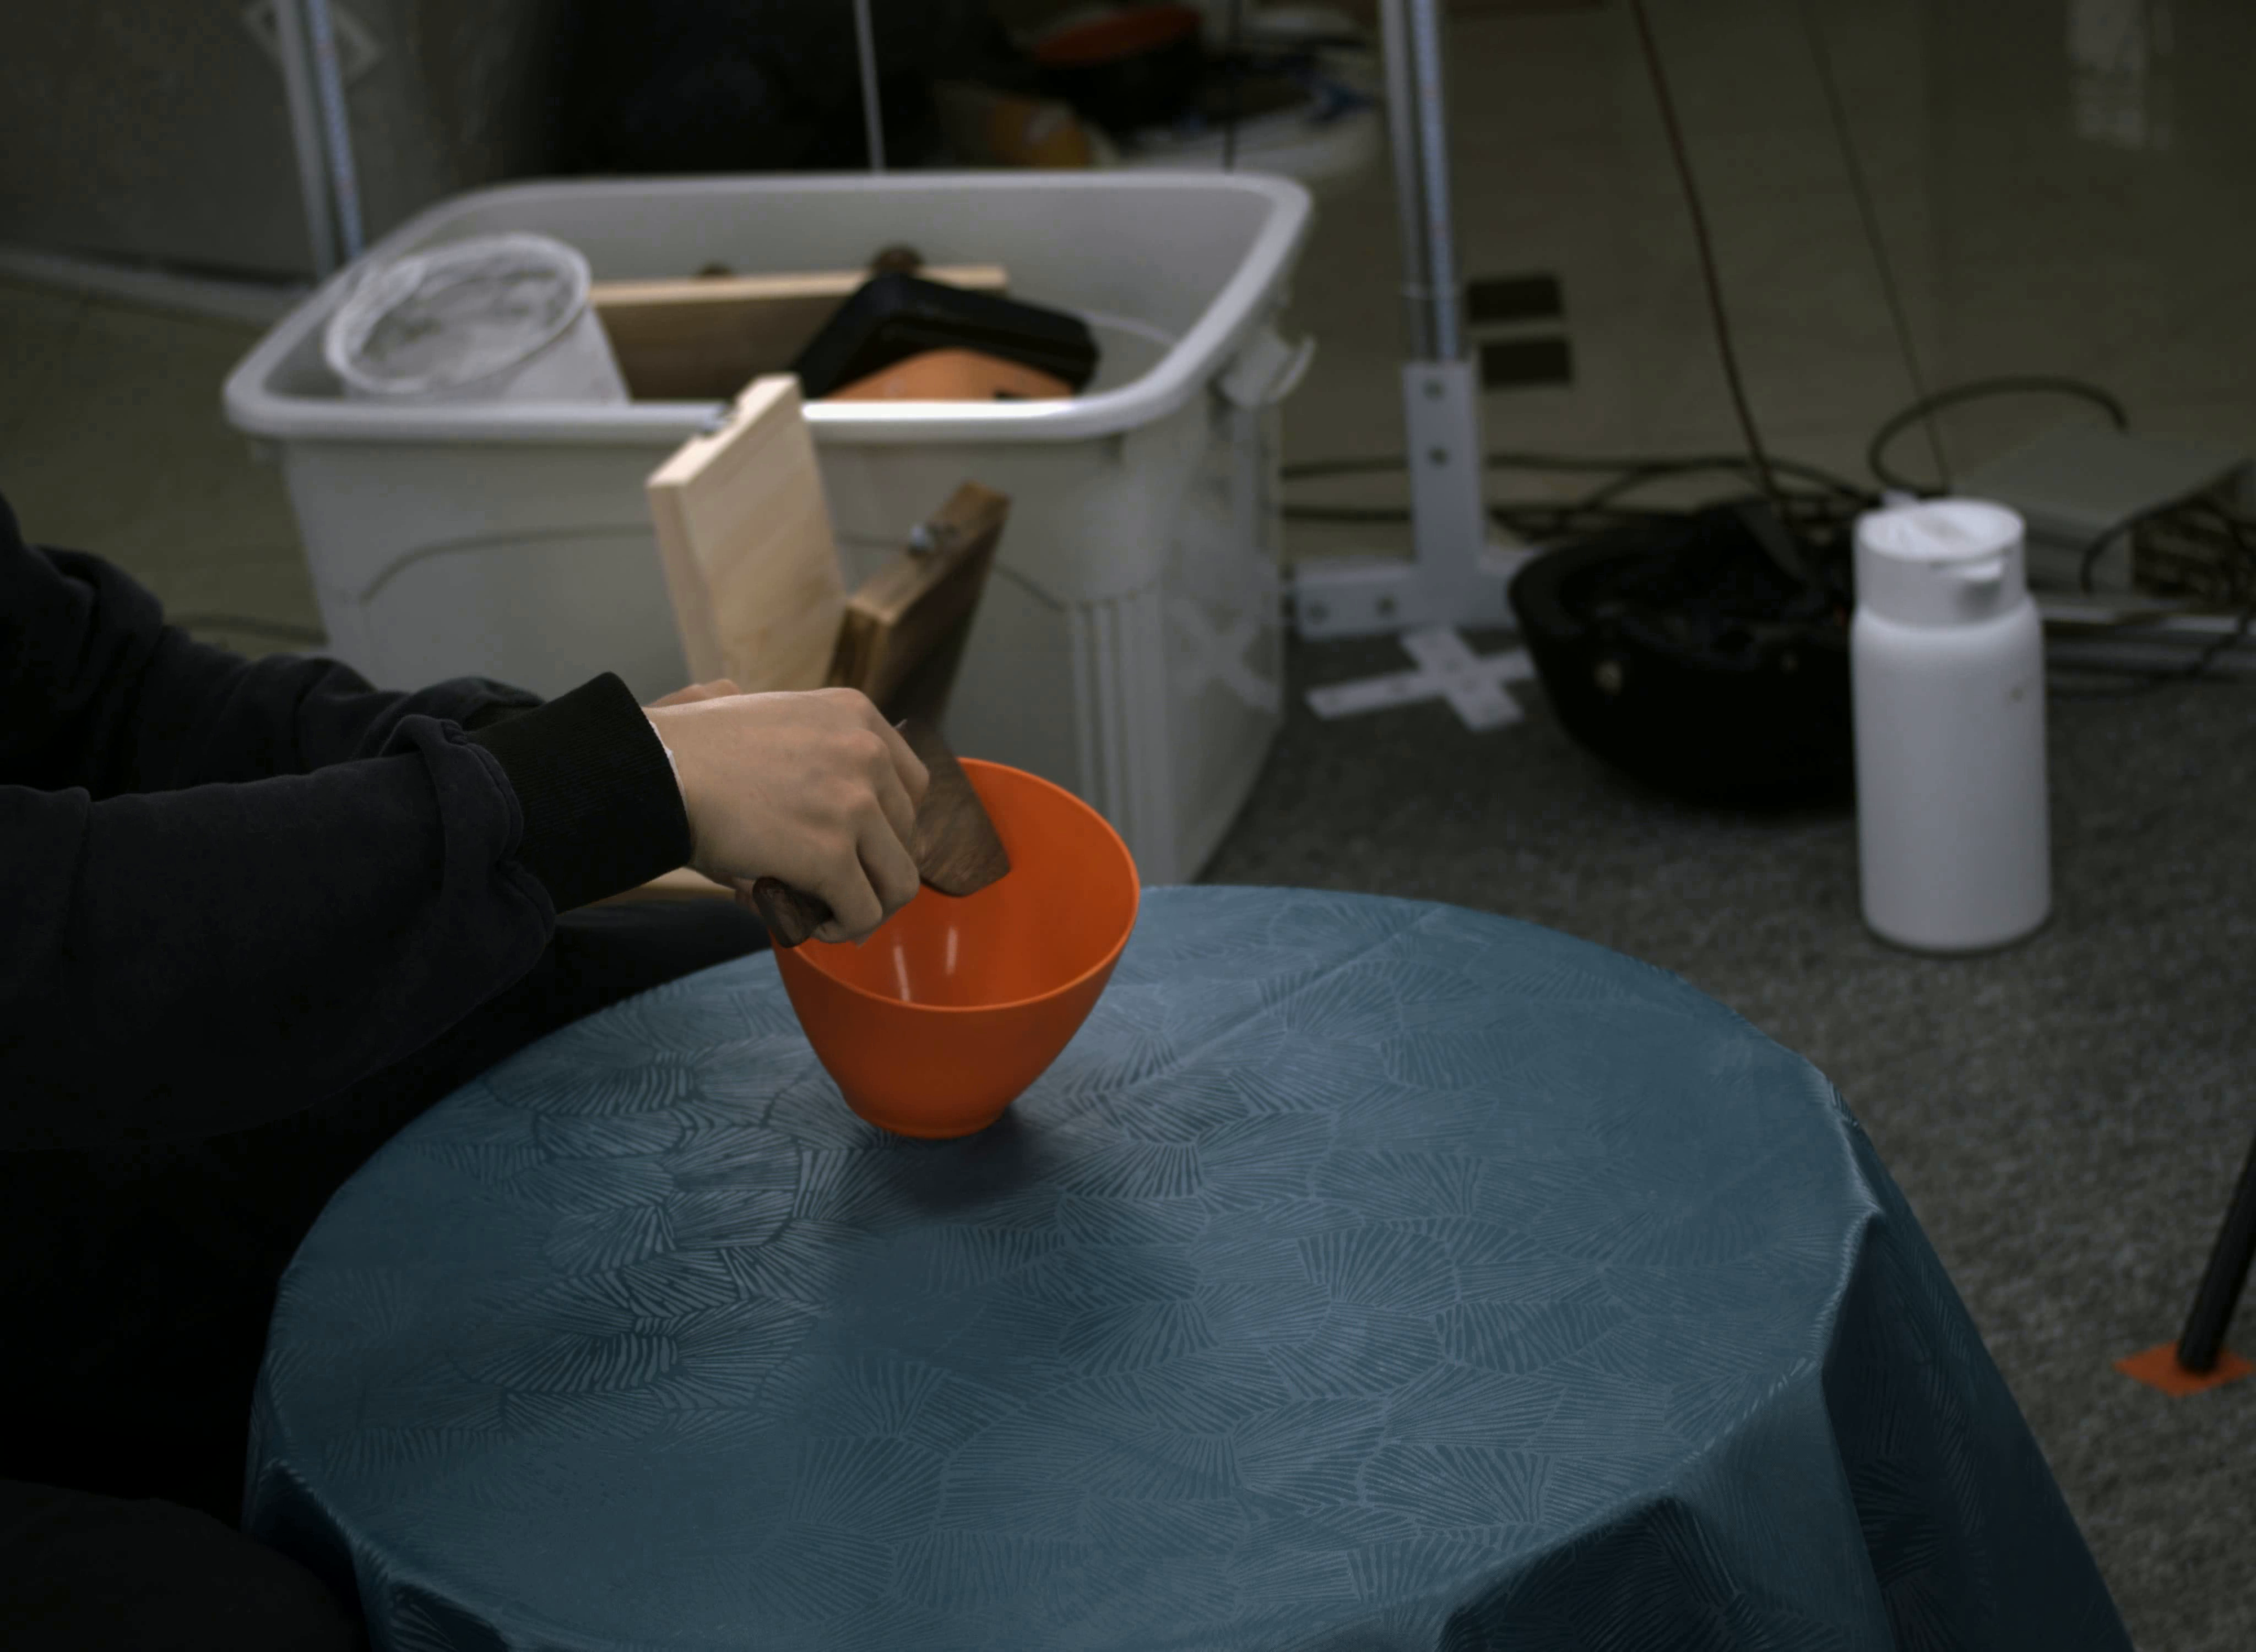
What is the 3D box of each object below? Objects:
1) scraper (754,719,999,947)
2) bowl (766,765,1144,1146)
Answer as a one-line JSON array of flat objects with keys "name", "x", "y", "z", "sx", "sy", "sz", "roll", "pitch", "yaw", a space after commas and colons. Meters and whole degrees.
[{"name": "scraper", "x": -0.098, "y": 0.011, "z": 2.126, "sx": 0.011, "sy": 0.076, "sz": 0.210, "roll": -26, "pitch": 3, "yaw": 20}, {"name": "bowl", "x": -0.072, "y": 0.058, "z": 2.208, "sx": 0.148, "sy": 0.106, "sz": 0.145, "roll": 6, "pitch": 31, "yaw": -4}]
